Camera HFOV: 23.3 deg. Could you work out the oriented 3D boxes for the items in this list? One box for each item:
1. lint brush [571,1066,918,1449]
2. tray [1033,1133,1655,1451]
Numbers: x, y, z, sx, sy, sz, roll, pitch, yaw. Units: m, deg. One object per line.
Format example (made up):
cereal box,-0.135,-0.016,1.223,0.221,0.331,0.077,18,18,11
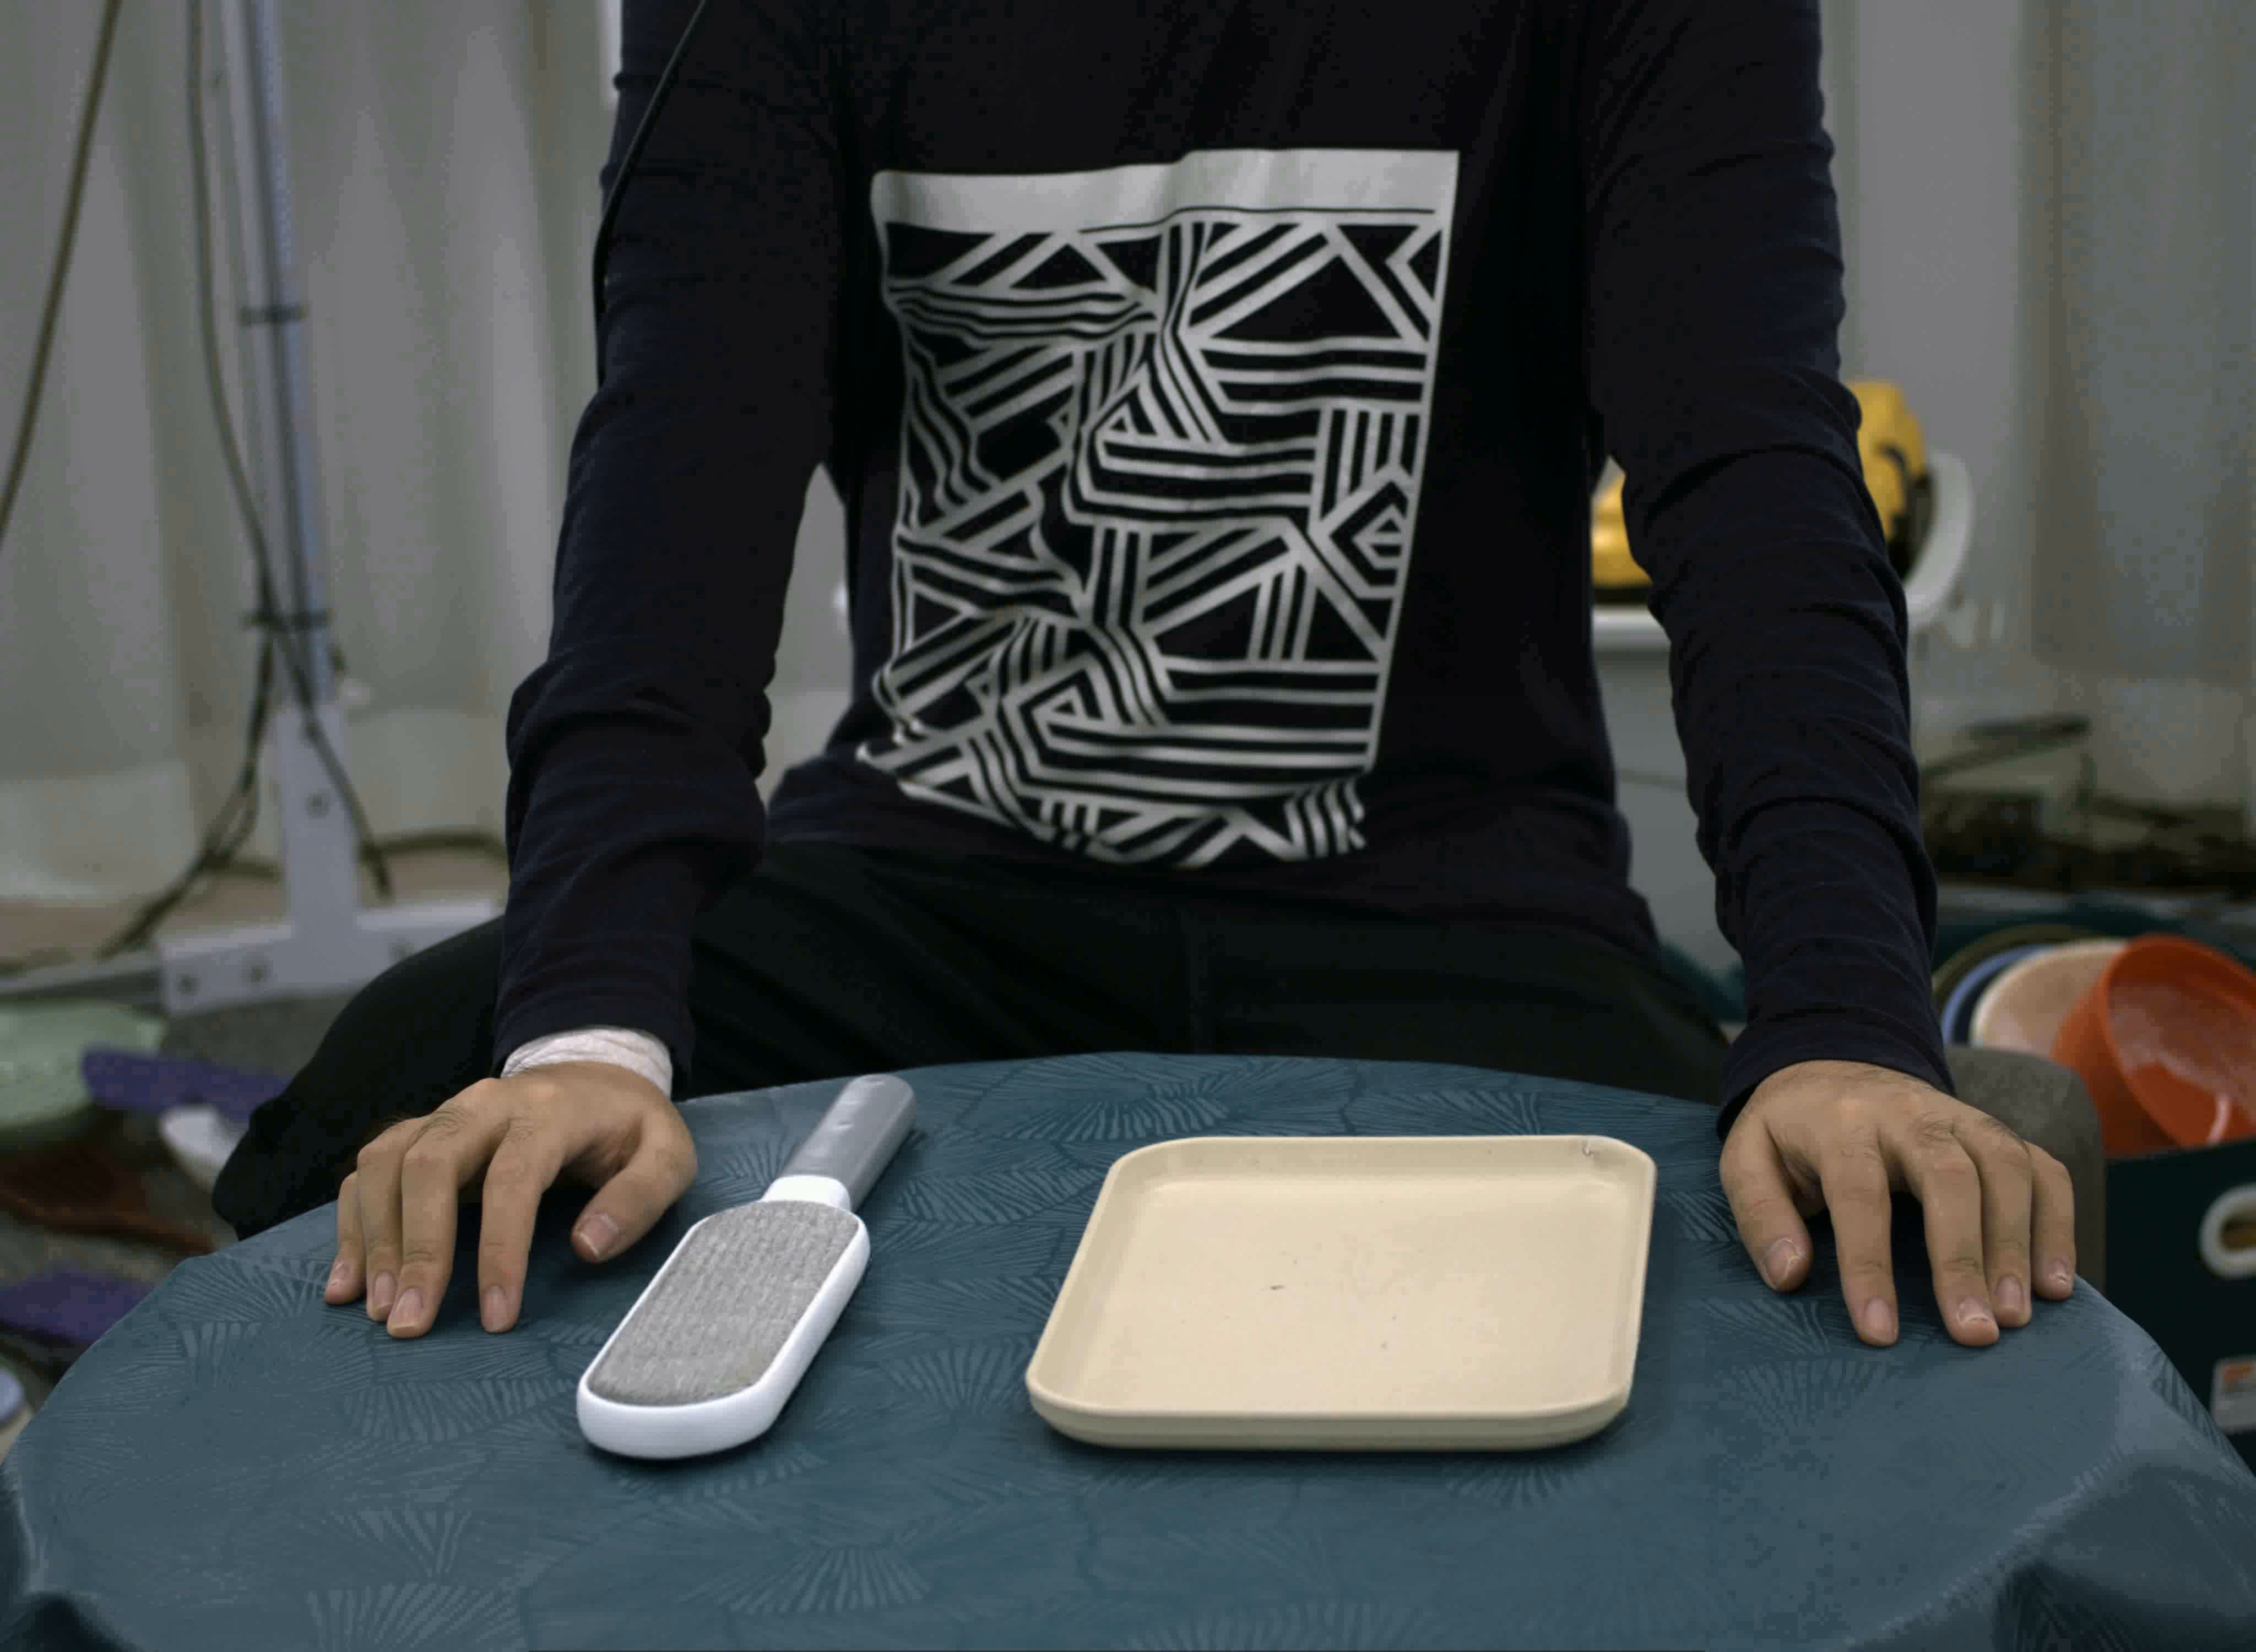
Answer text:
lint brush,-0.104,0.126,1.645,0.060,0.021,0.310,-5,14,11
tray,0.068,0.135,1.594,0.171,0.017,0.241,-2,15,8
